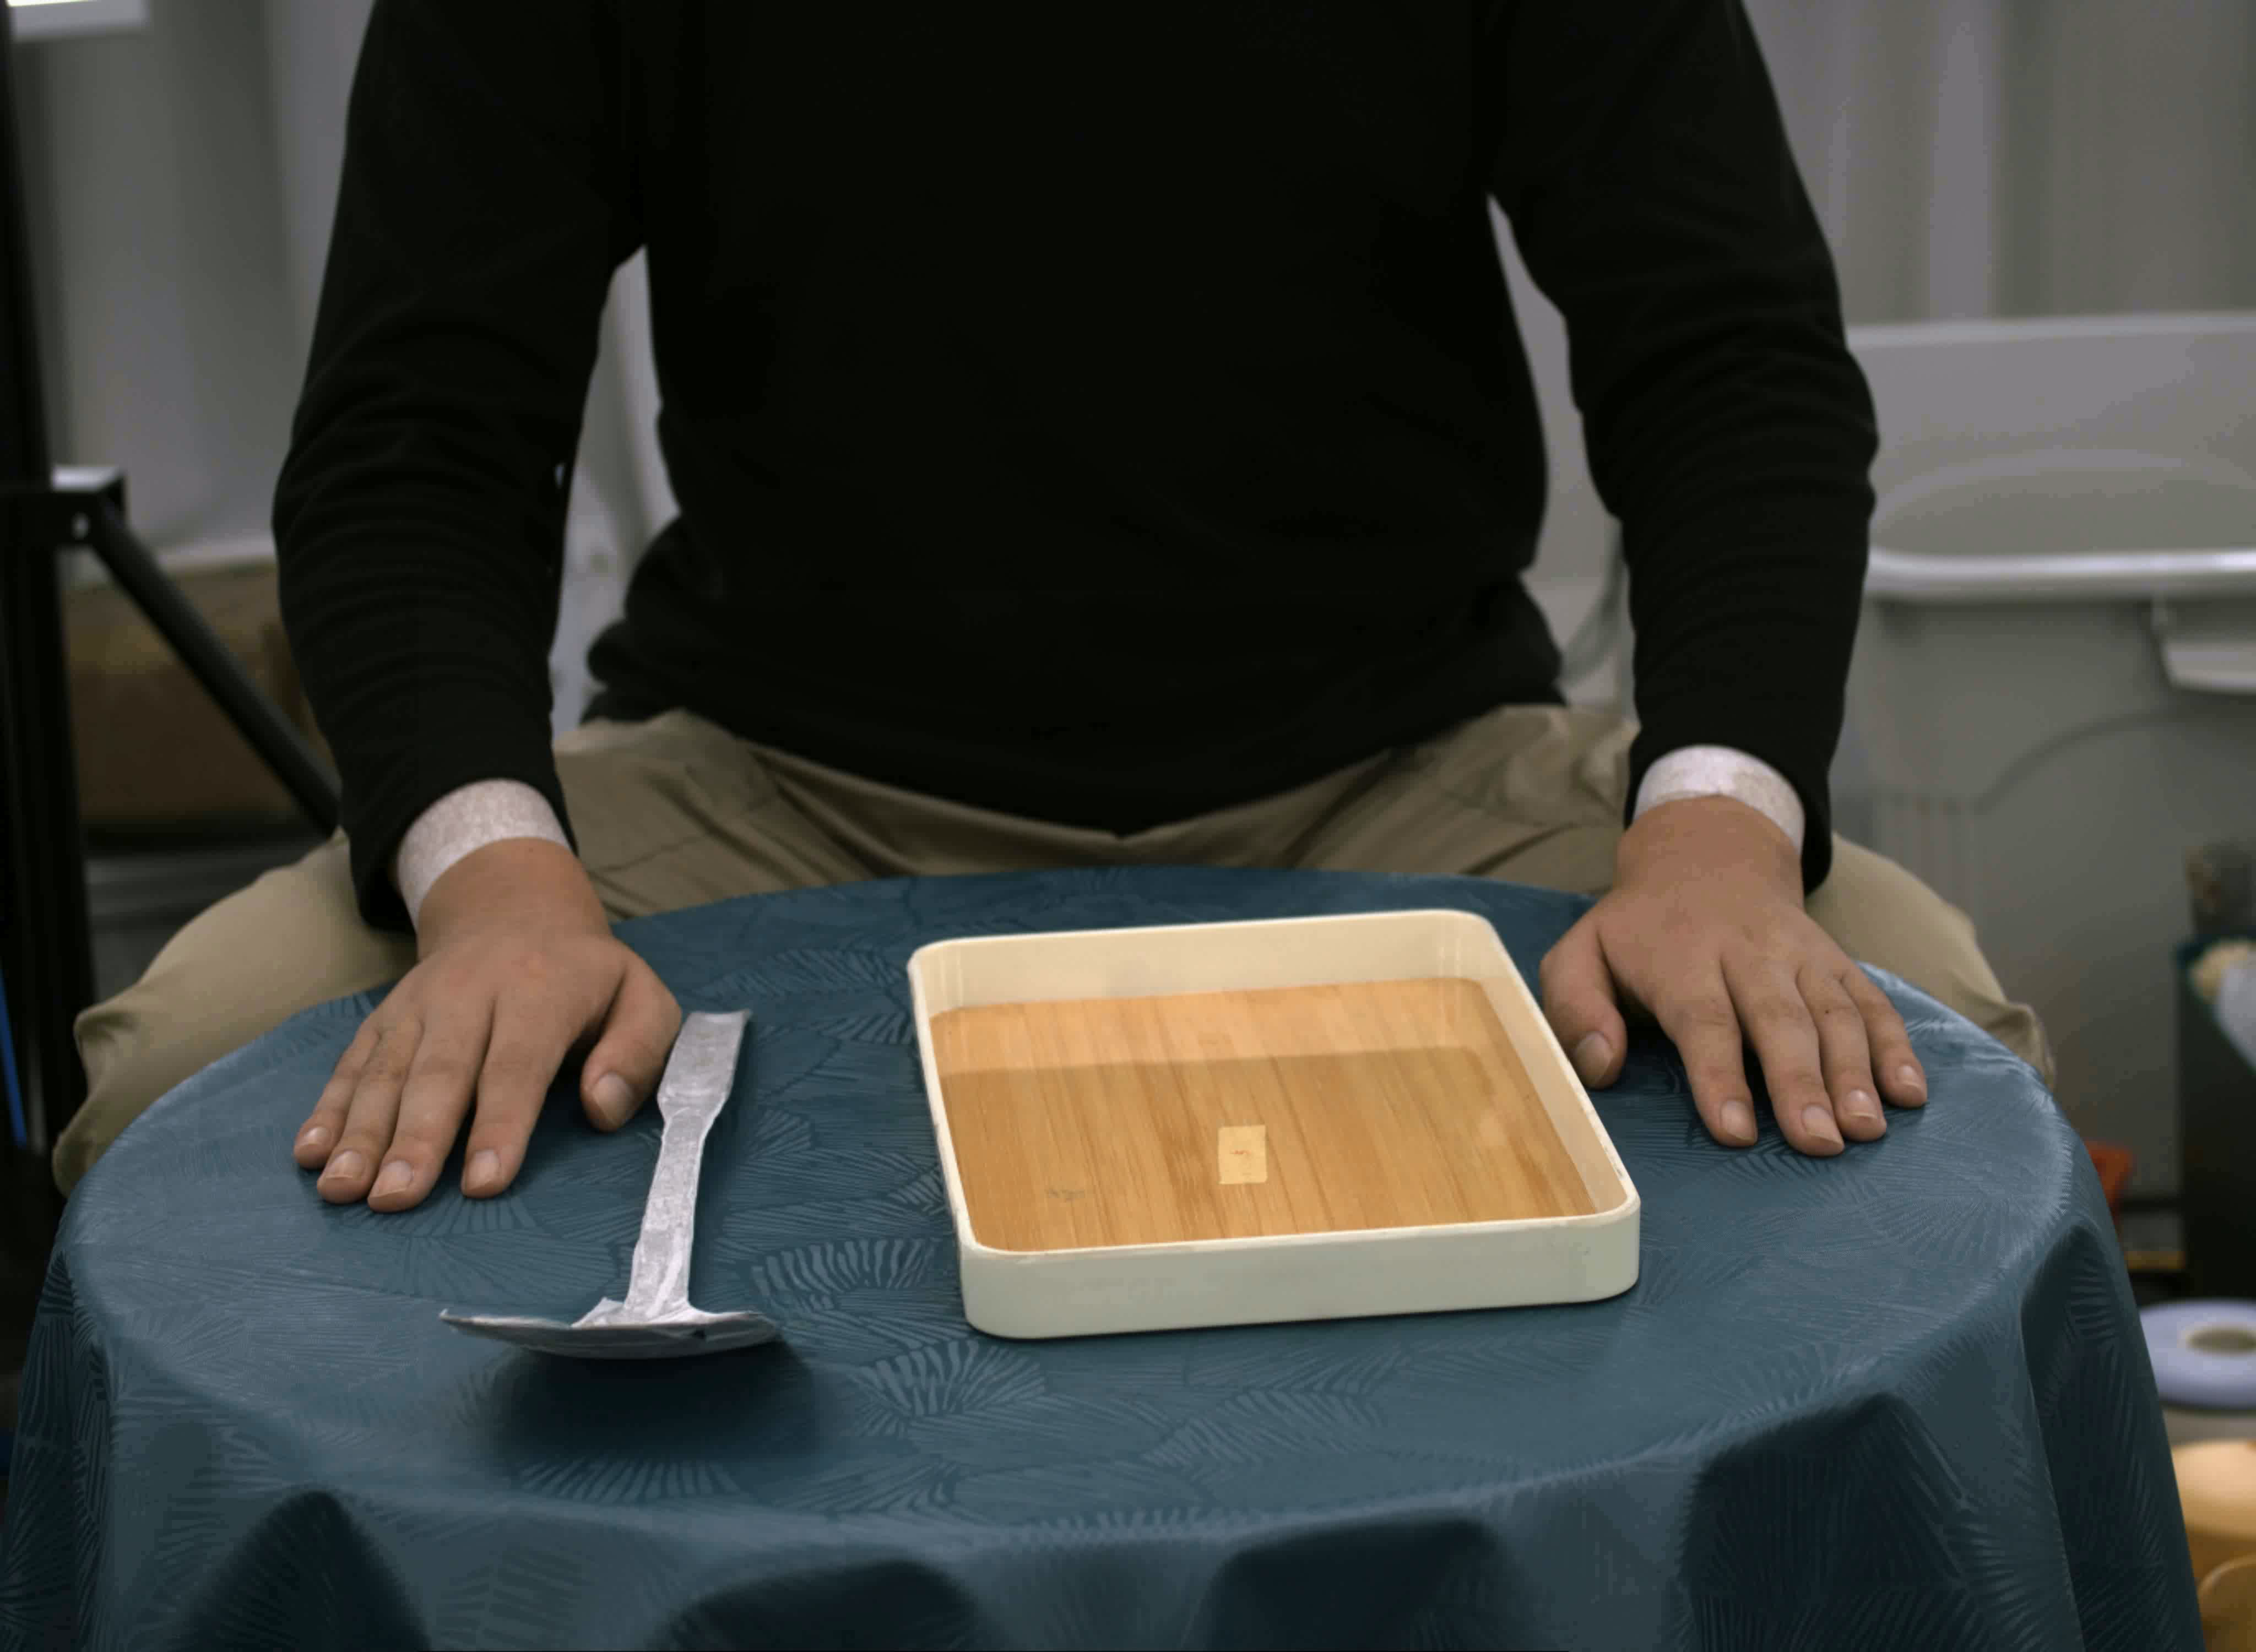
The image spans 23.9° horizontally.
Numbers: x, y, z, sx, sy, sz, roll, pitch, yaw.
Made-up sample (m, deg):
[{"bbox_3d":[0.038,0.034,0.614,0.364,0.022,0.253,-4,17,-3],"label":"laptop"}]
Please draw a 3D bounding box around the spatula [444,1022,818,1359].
[{"bbox_3d":[-0.129,0.097,1.548,0.098,0.045,0.366,-3,16,1],"label":"spatula"}]

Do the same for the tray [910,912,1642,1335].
[{"bbox_3d":[0.037,0.084,1.585,0.190,0.027,0.302,-4,16,-3],"label":"tray"}]
